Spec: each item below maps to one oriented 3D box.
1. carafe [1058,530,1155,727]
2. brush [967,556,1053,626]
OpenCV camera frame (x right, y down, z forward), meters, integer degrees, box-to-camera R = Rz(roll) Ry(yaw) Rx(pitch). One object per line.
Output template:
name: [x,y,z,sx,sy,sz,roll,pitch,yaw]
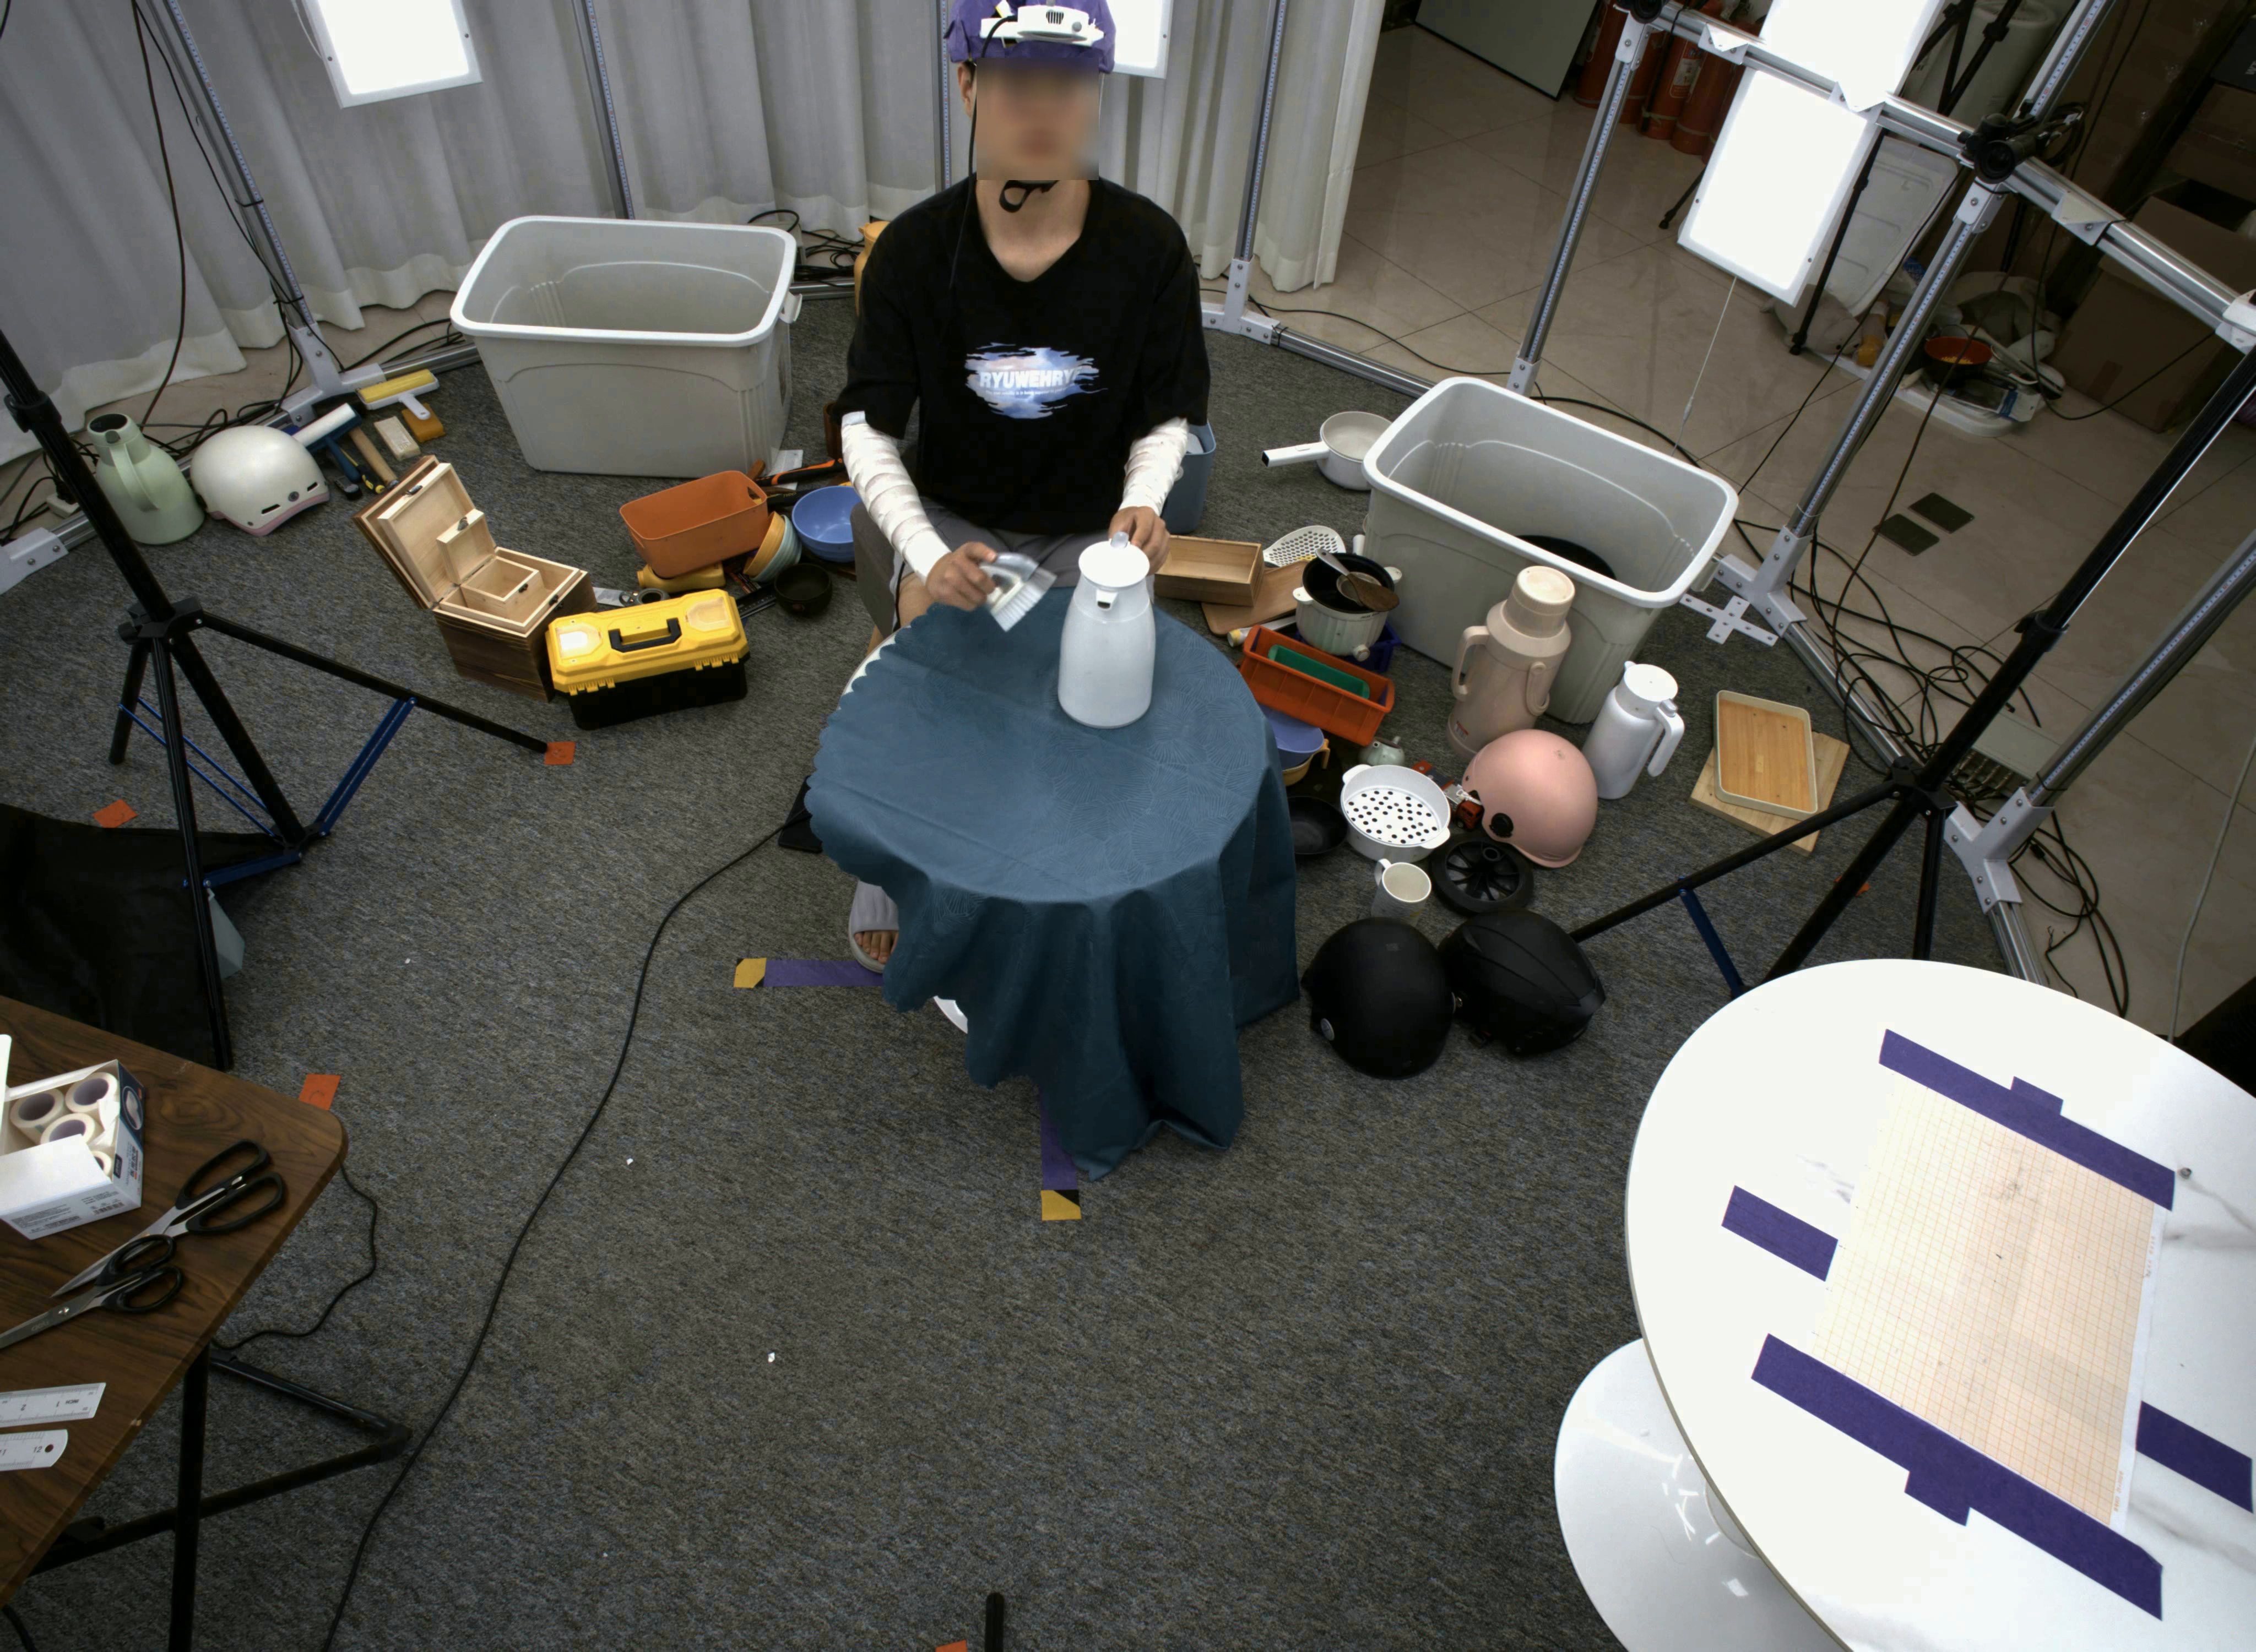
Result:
carafe: [-0.024,-0.281,1.753,0.132,0.242,0.171,10,50,4]
brush: [-0.161,-0.327,1.717,0.093,0.175,0.062,34,74,-16]
